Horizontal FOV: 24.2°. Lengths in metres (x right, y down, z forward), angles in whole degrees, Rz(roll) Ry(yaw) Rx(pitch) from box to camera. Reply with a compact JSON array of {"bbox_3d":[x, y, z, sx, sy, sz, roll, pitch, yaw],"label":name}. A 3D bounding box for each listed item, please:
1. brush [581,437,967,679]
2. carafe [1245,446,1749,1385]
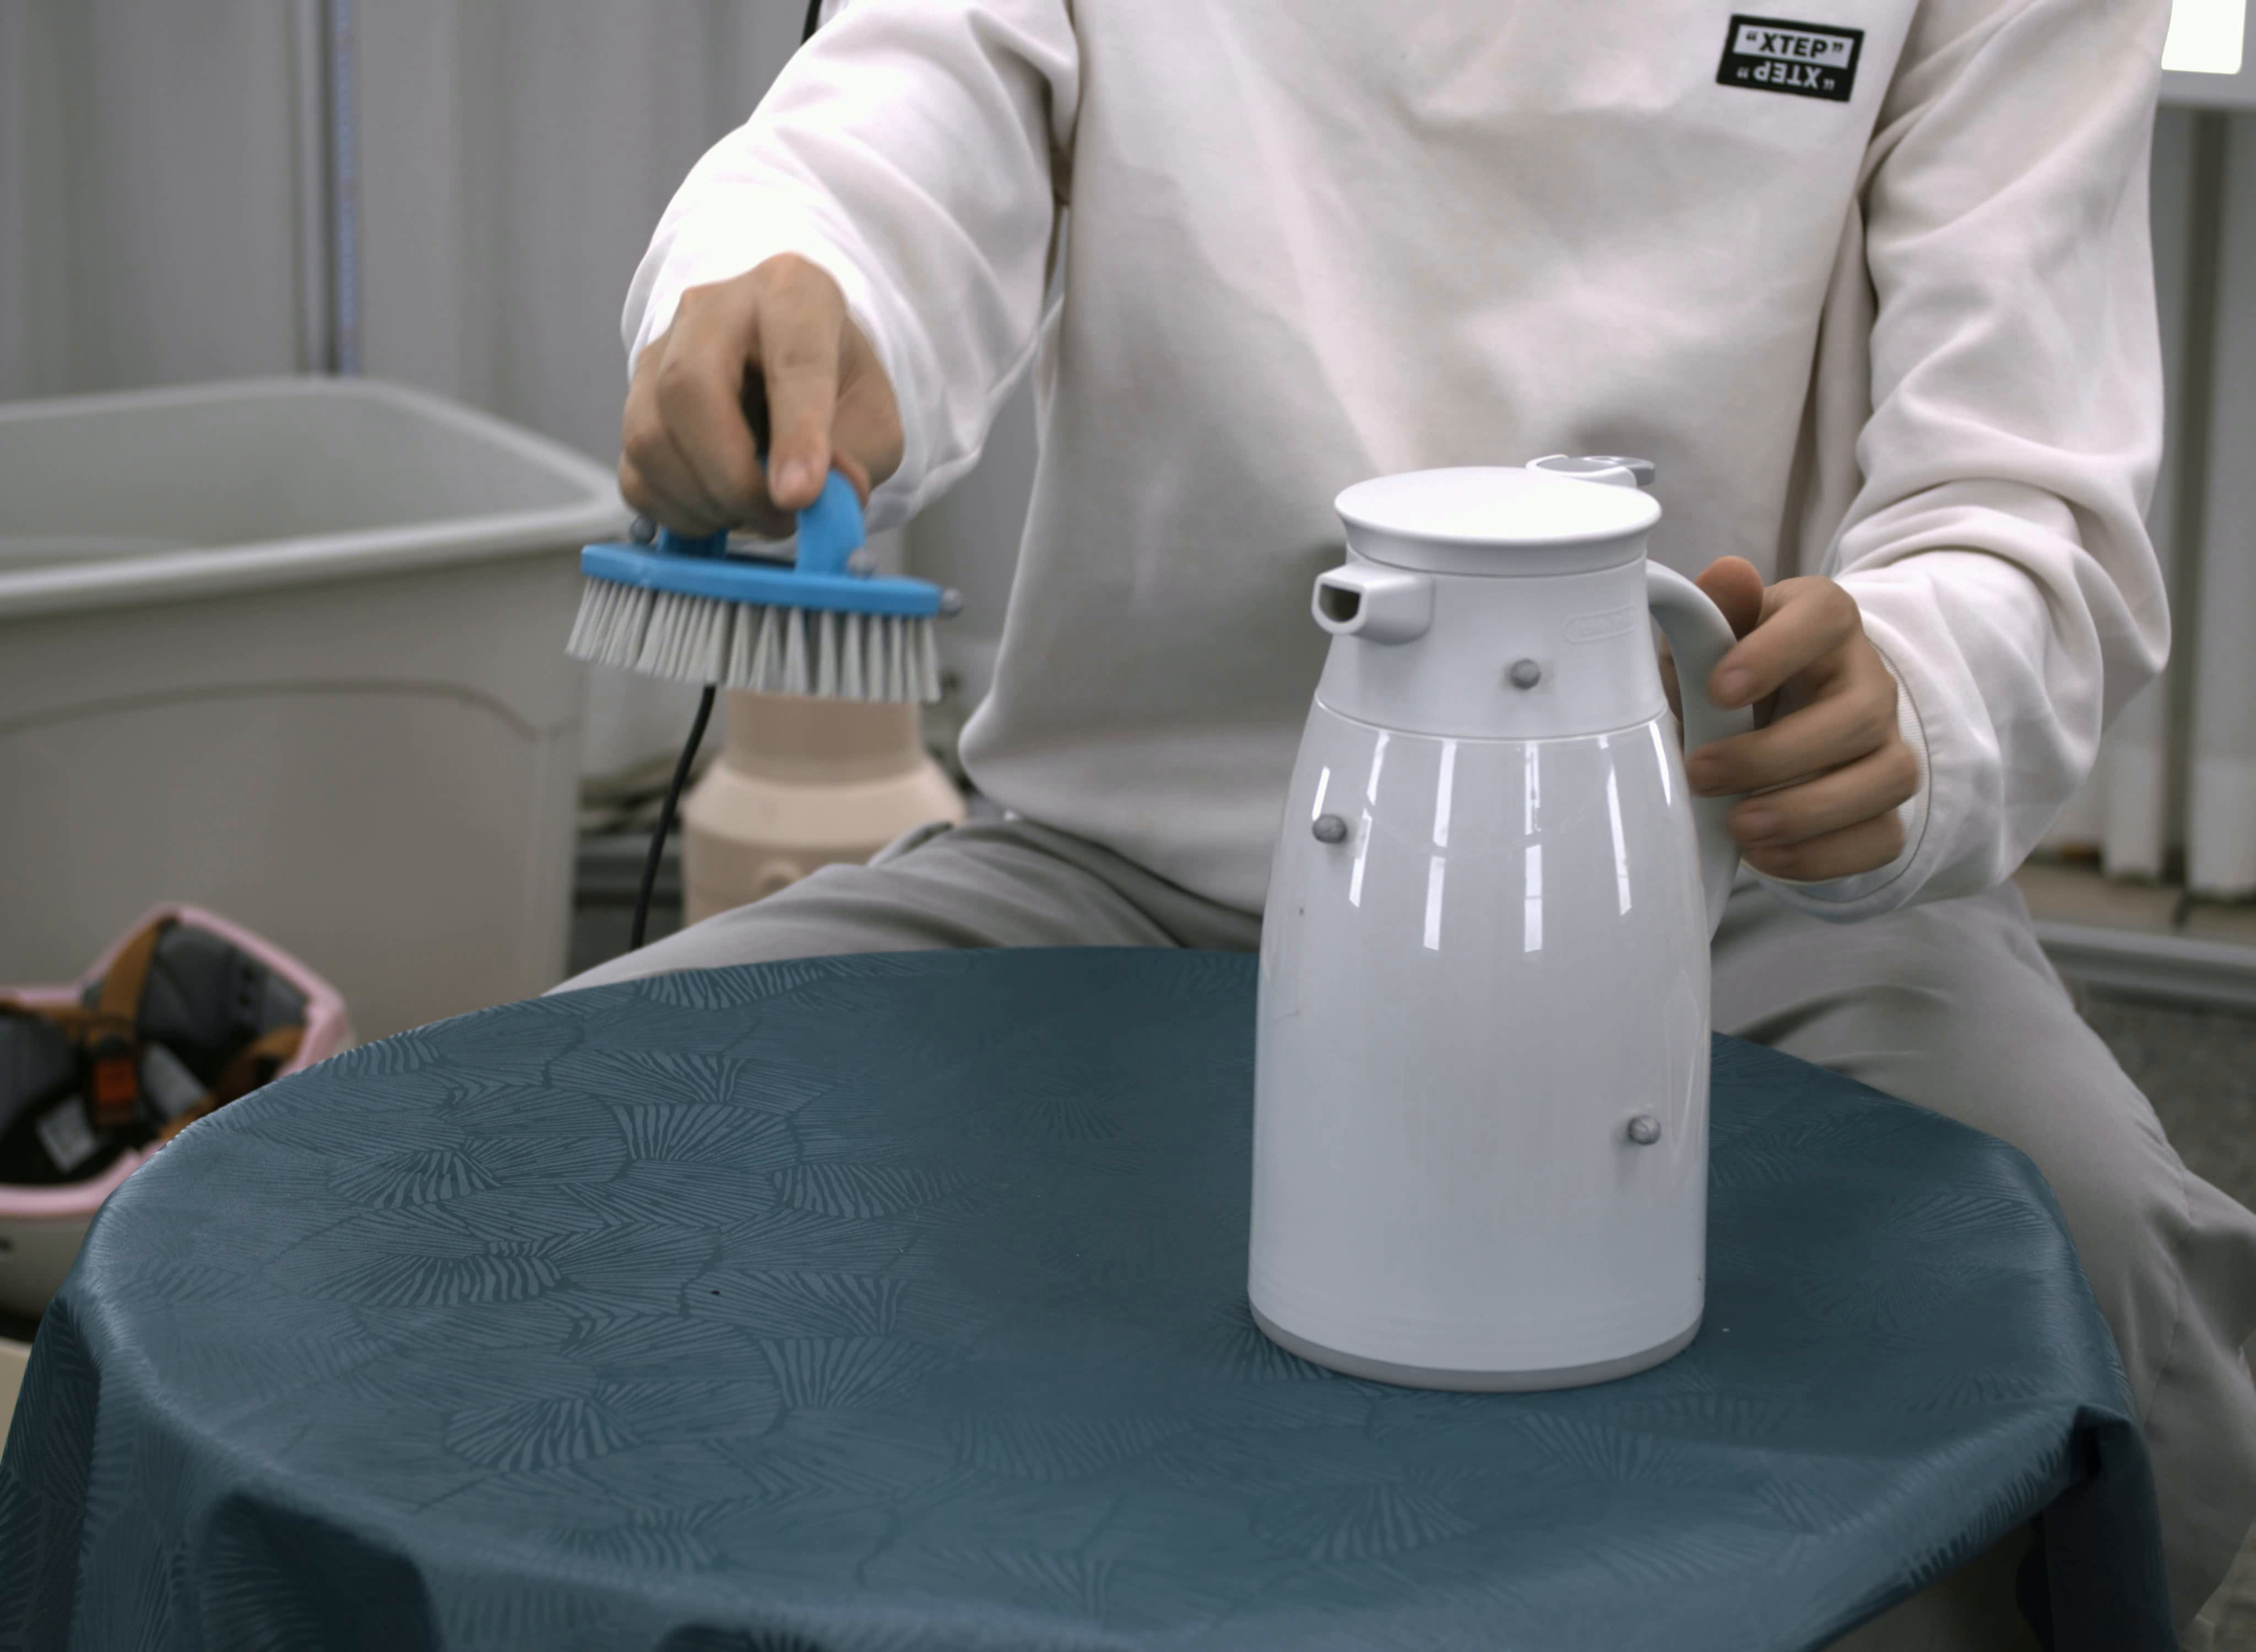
[{"bbox_3d":[-0.102,-0.078,1.491,0.085,0.064,0.140,-2,7,-30],"label":"brush"},{"bbox_3d":[0.114,0.017,1.511,0.168,0.250,0.131,-14,21,-43],"label":"carafe"}]
